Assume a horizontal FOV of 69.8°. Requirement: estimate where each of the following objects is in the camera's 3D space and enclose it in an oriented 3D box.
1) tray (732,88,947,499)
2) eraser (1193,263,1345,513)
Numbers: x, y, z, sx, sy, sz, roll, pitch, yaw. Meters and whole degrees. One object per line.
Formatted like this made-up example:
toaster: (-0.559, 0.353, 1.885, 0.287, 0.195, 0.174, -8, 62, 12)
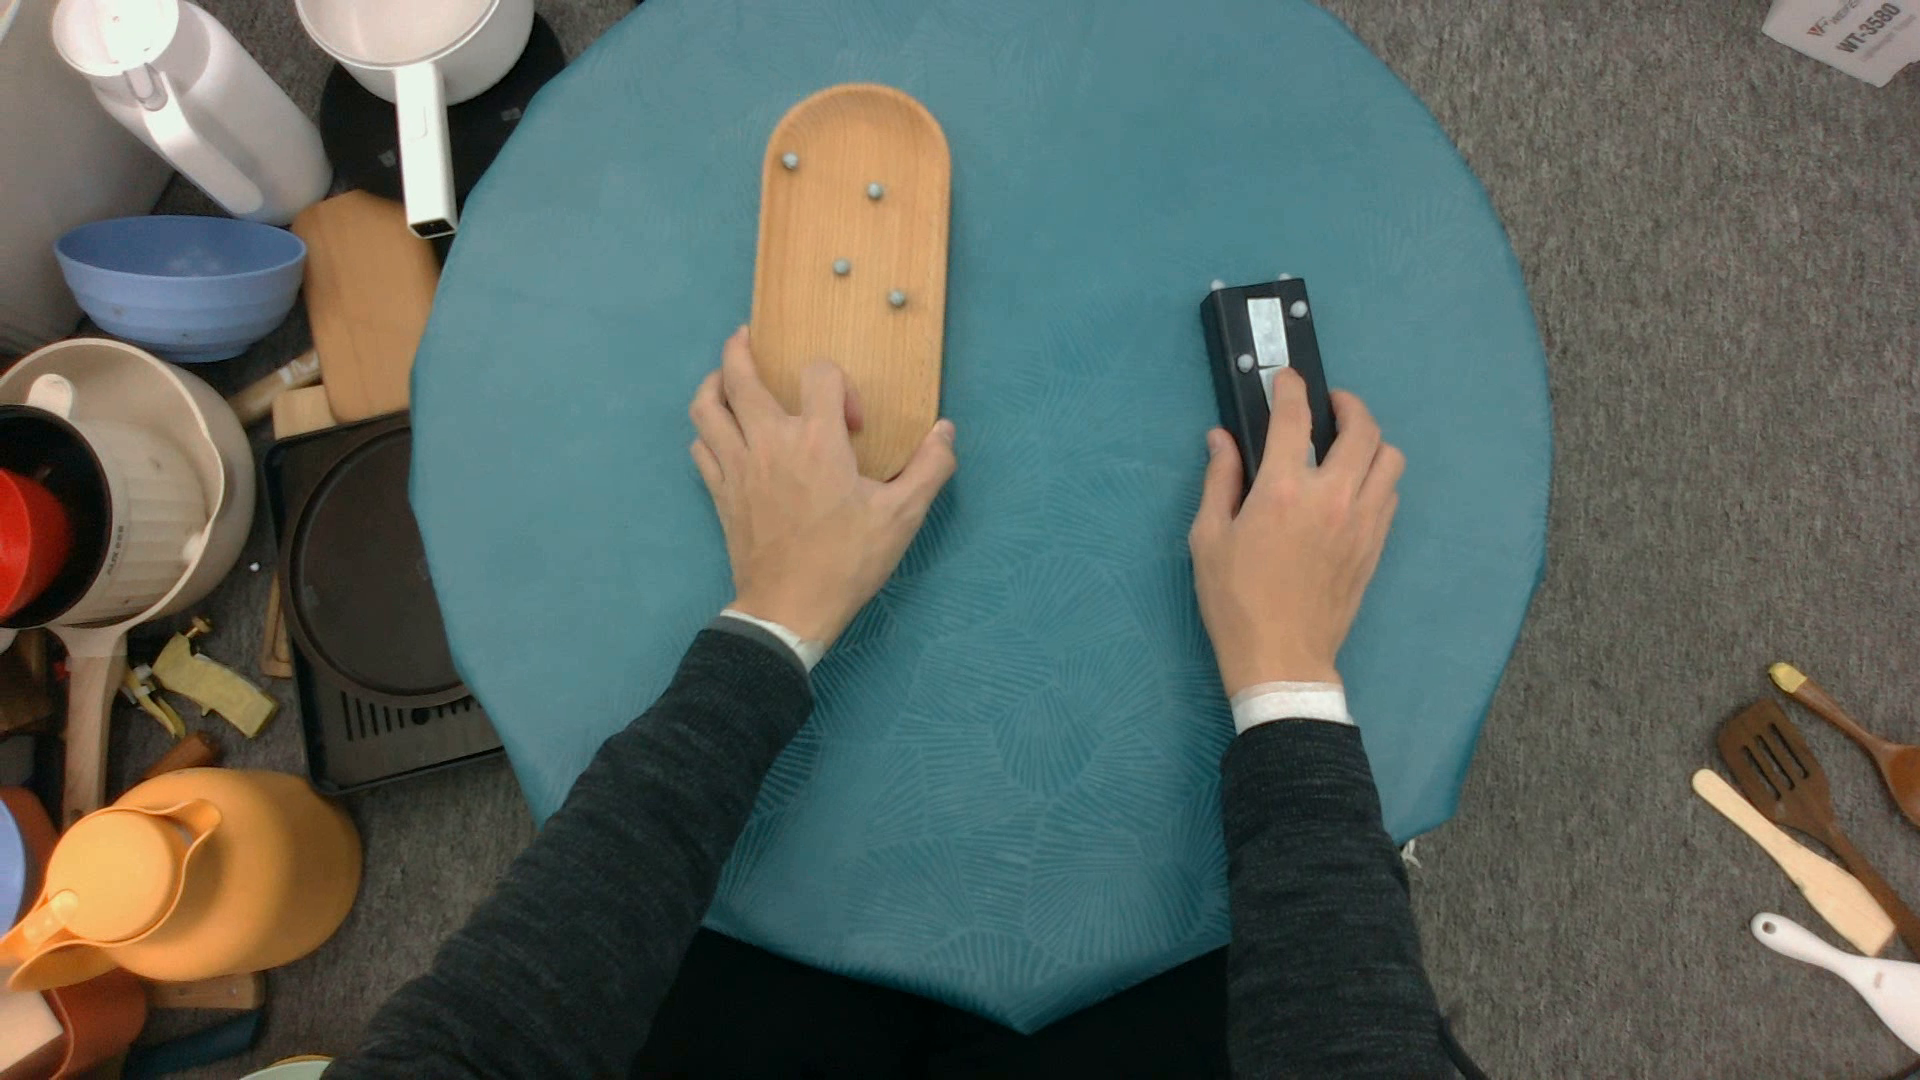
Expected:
tray: (-0.061, -0.132, 0.720, 0.101, 0.020, 0.231, 2, 76, 7)
eraser: (0.159, -0.079, 0.719, 0.053, 0.030, 0.125, -10, 79, -2)
